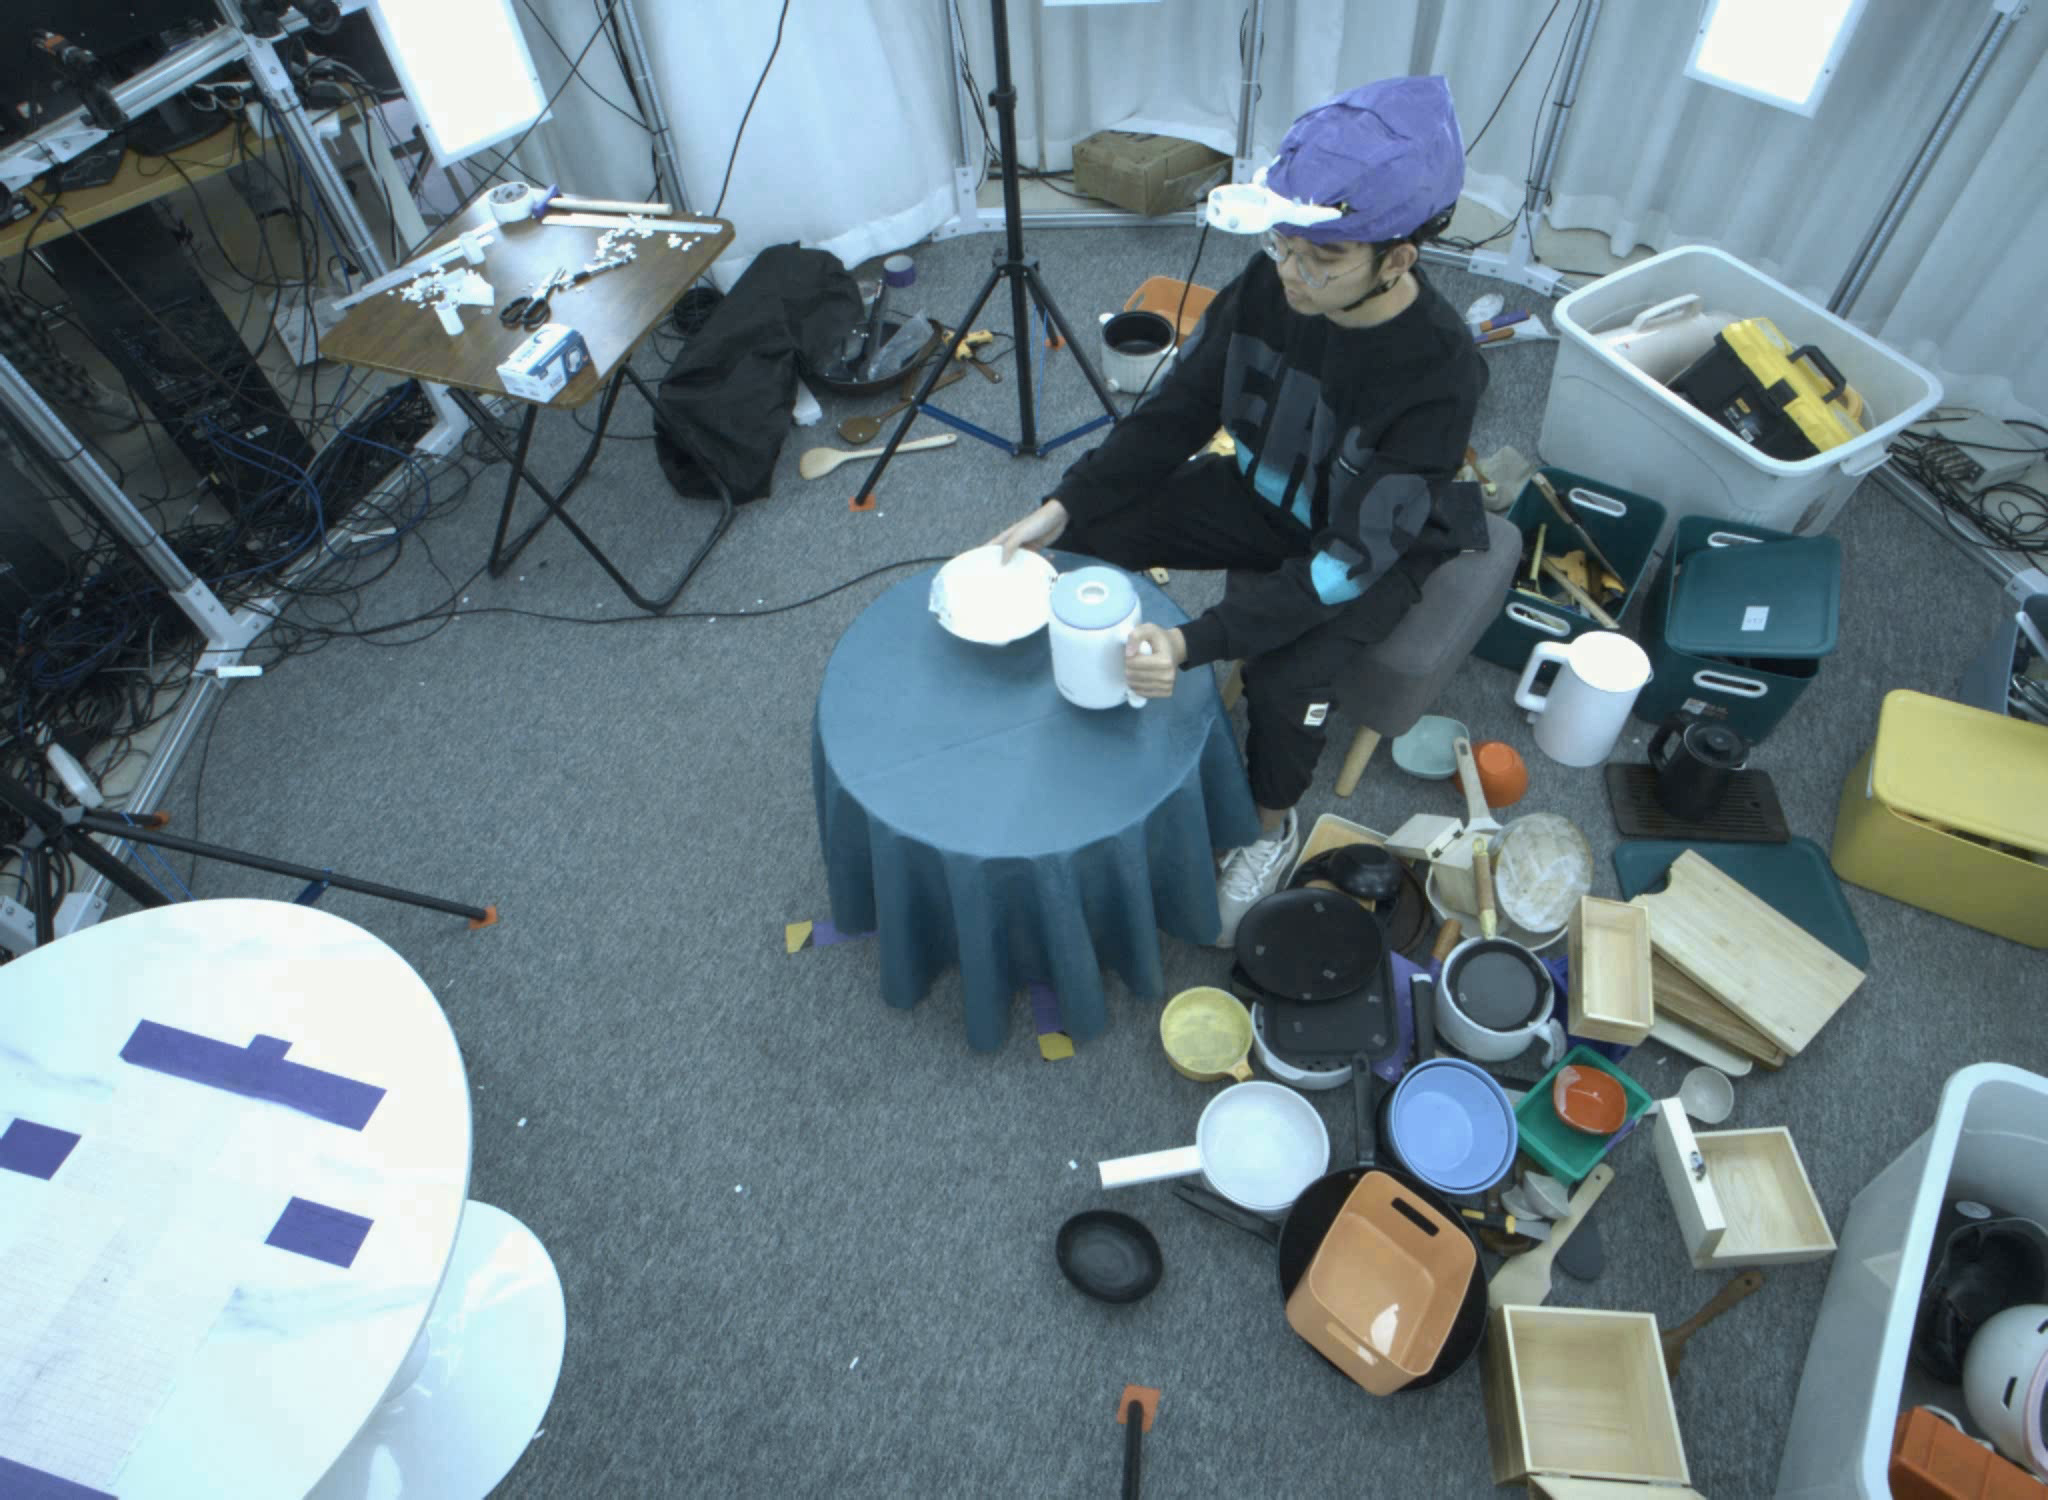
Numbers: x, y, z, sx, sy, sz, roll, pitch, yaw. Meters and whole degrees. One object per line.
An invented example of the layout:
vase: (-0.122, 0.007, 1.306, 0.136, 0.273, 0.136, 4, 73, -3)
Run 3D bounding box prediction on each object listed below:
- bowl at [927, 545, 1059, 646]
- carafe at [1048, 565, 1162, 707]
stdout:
bowl: (-0.046, -0.218, 1.894, 0.204, 0.078, 0.202, 1, 53, 0)
carafe: (0.119, -0.146, 1.729, 0.133, 0.184, 0.187, -40, 62, -21)
